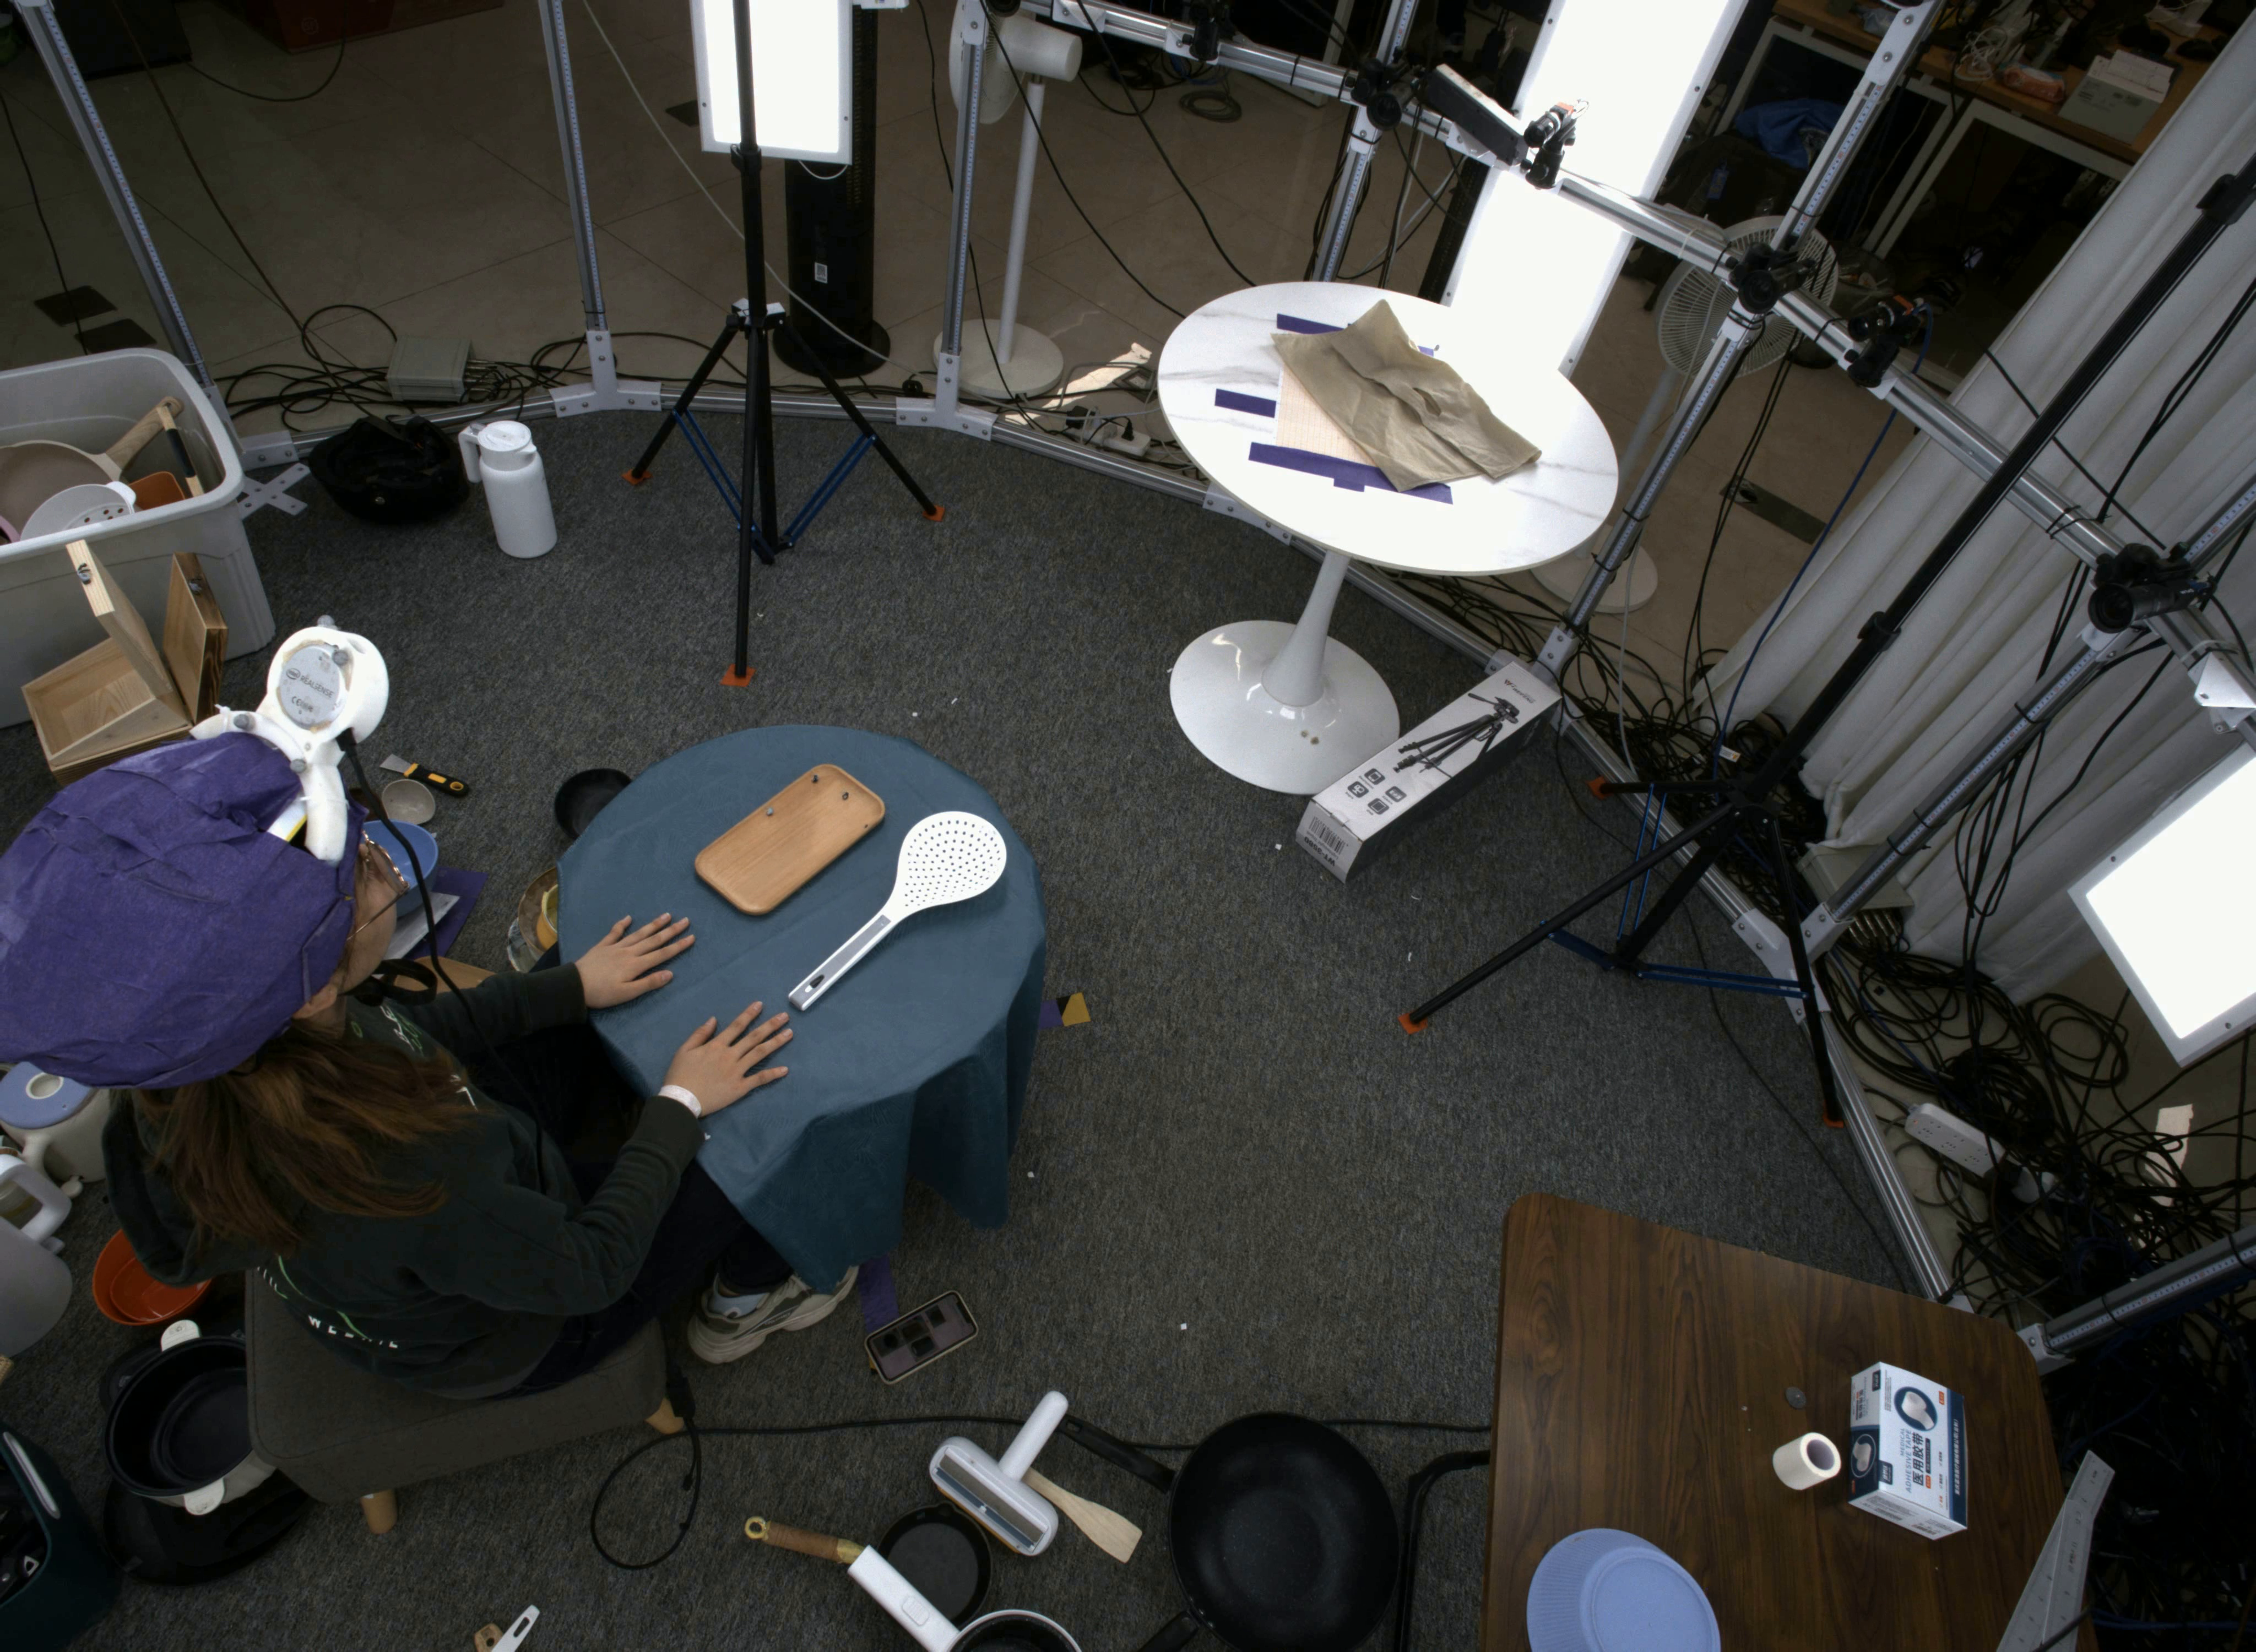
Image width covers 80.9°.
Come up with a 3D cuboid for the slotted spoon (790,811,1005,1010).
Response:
[{"bbox_3d":[-0.294,0.106,1.654,0.133,0.047,0.350,35,54,16],"label":"slotted spoon"}]

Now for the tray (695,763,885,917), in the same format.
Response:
[{"bbox_3d":[-0.441,0.015,1.703,0.128,0.023,0.250,35,54,15],"label":"tray"}]
